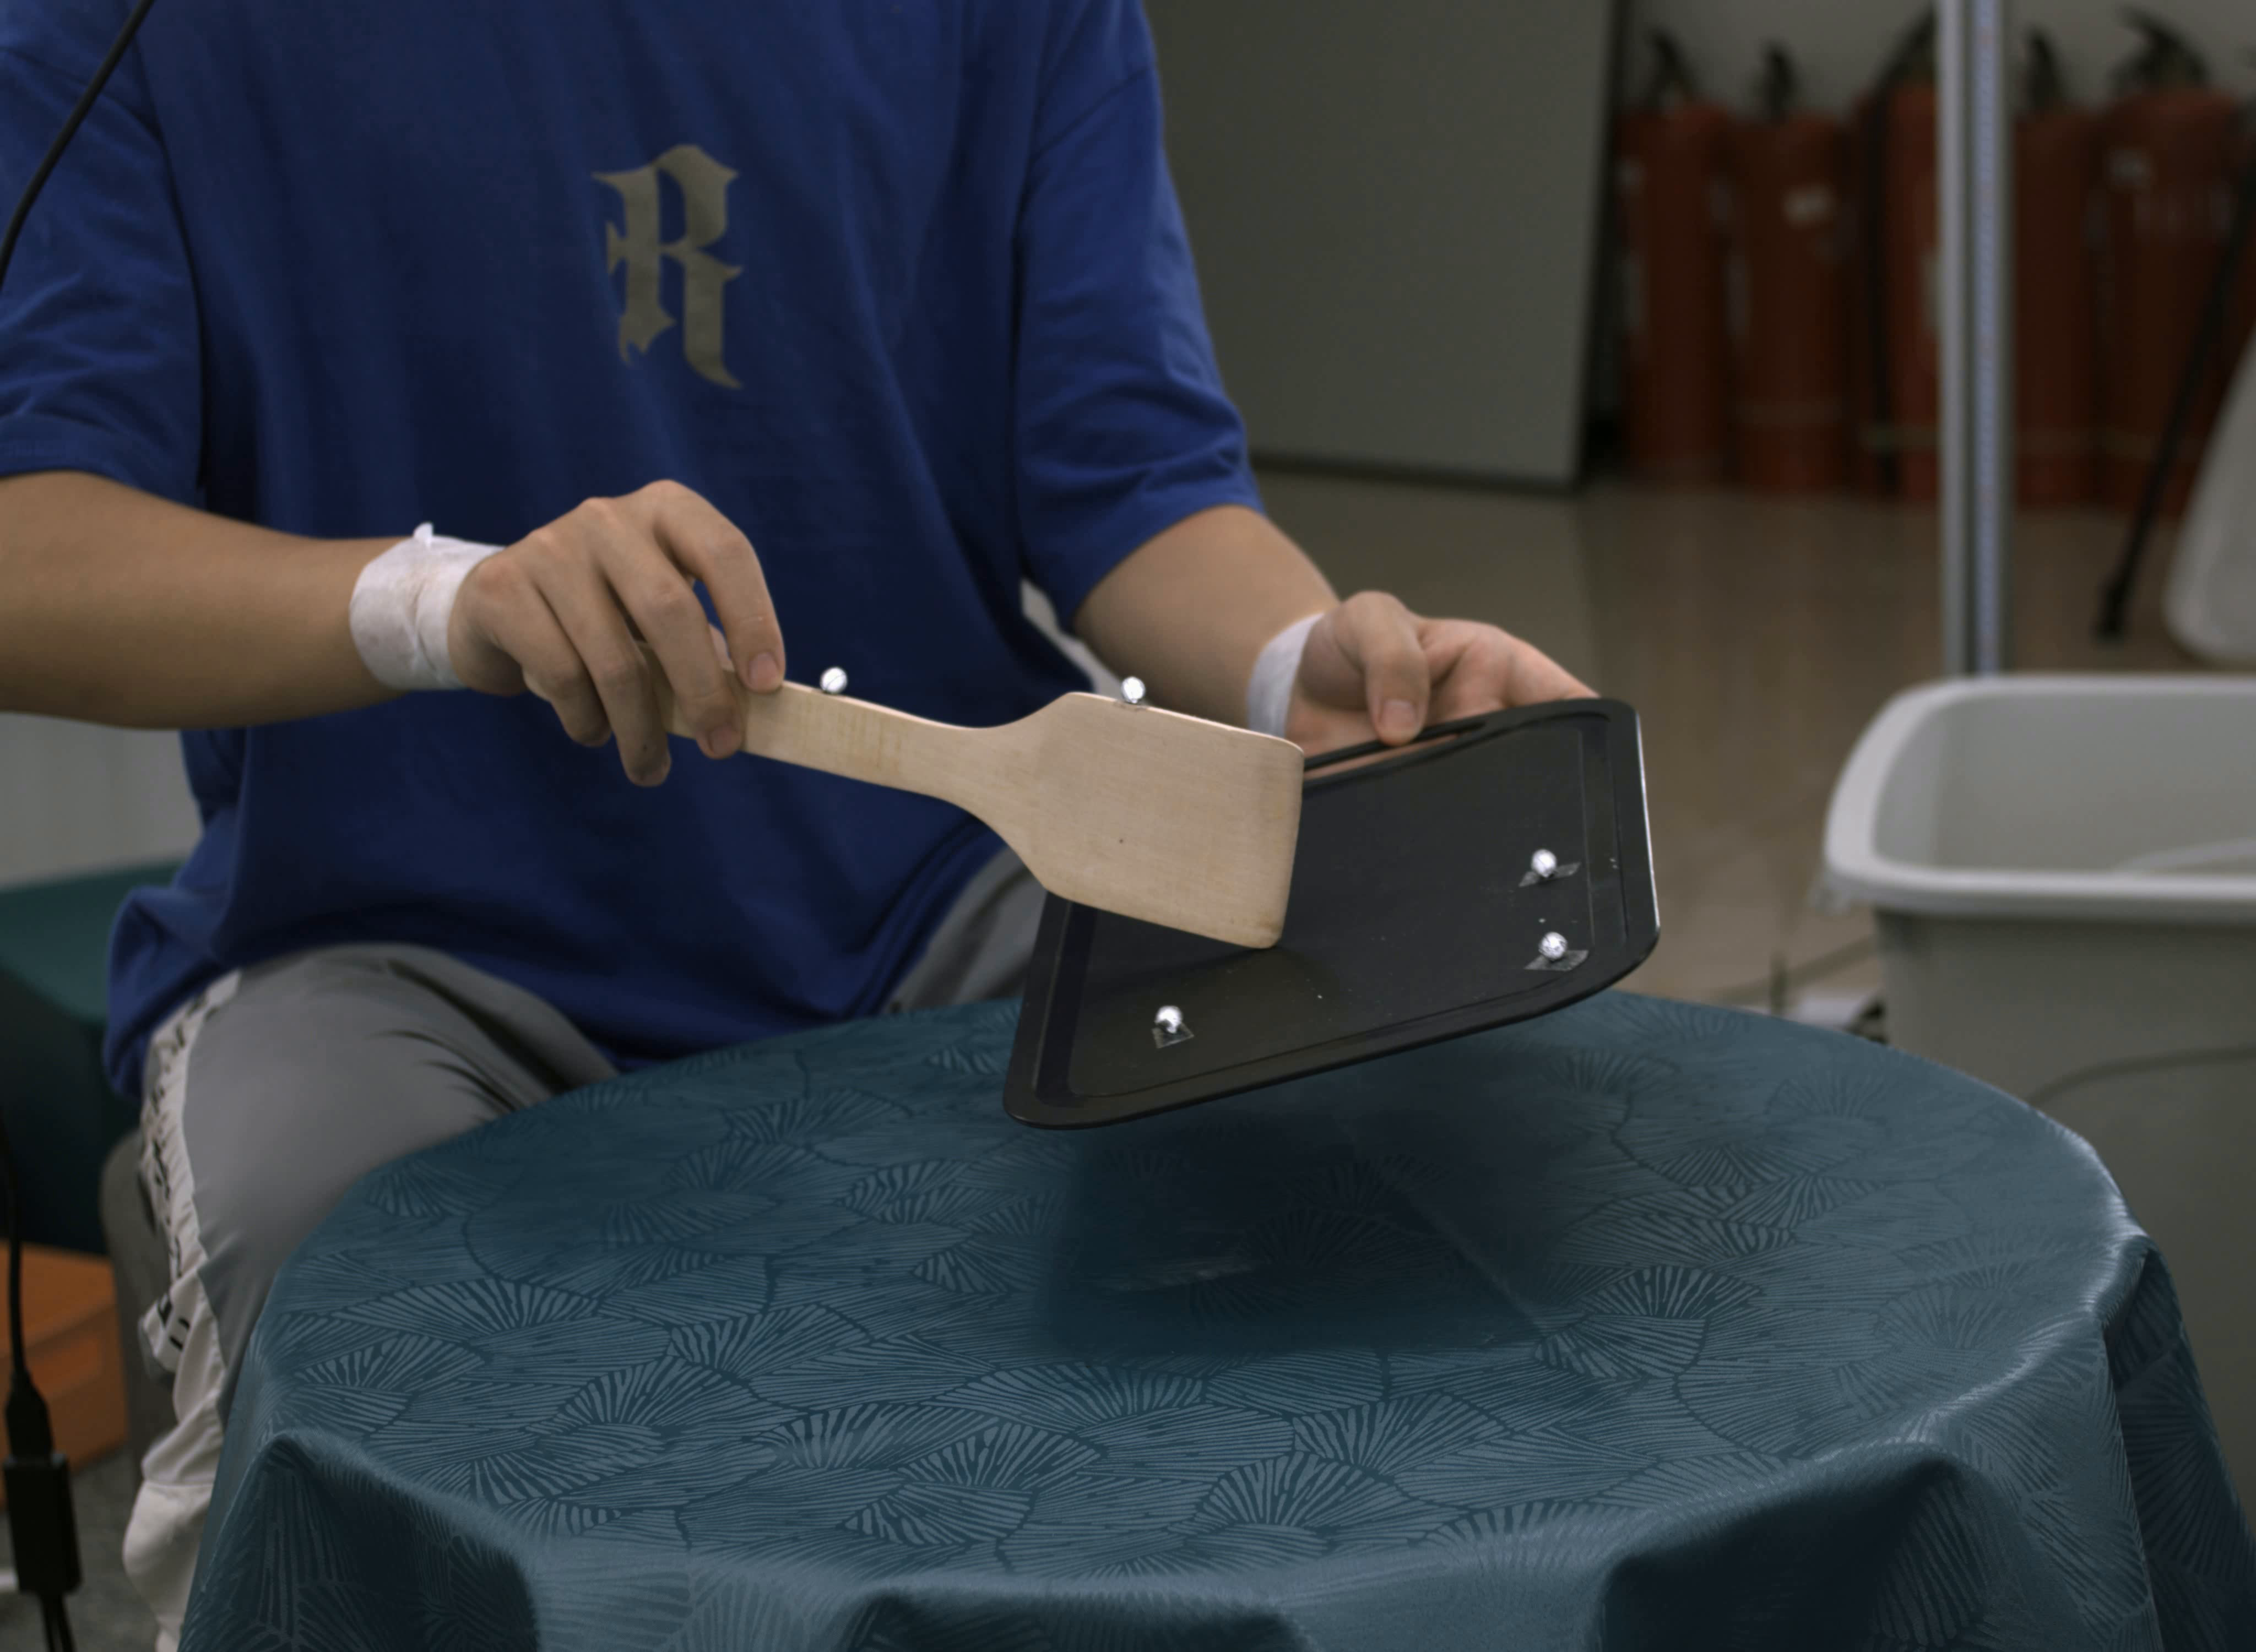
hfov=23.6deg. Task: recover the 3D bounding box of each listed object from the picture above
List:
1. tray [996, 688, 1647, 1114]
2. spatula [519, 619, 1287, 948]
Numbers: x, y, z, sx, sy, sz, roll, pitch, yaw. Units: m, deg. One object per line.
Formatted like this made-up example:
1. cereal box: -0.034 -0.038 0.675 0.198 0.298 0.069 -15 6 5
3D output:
1. tray: 0.066 0.017 1.748 0.210 0.010 0.325 -16 16 10
2. spatula: -0.079 -0.027 1.762 0.294 0.073 0.010 15 16 28
